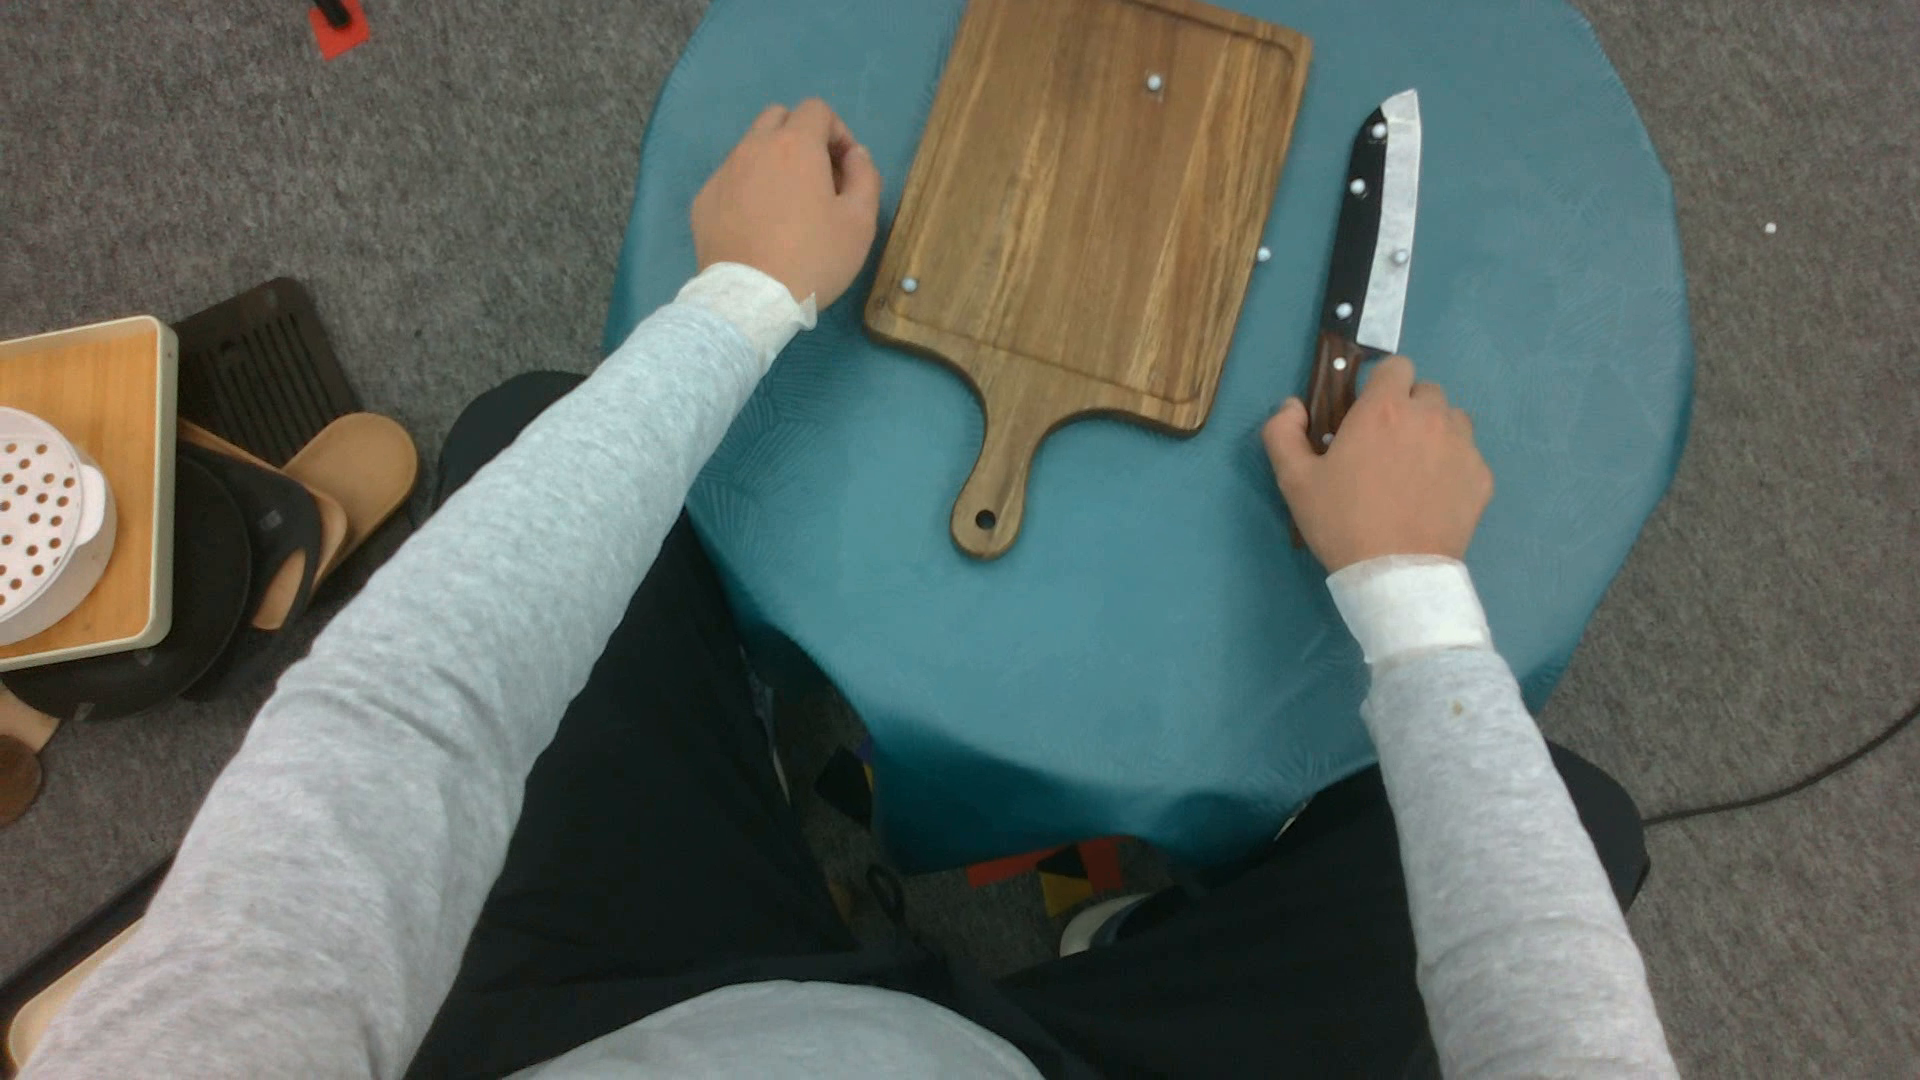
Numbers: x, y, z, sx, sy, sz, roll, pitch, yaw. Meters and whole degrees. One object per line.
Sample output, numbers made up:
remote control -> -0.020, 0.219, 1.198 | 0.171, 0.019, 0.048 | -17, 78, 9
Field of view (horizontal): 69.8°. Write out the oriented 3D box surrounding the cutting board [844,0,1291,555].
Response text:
cutting board -> 0.050, -0.160, 0.759 | 0.201, 0.023, 0.353 | 17, 77, 0

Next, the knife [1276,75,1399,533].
knife -> 0.213, -0.138, 0.768 | 0.050, 0.020, 0.290 | 16, 75, -4
